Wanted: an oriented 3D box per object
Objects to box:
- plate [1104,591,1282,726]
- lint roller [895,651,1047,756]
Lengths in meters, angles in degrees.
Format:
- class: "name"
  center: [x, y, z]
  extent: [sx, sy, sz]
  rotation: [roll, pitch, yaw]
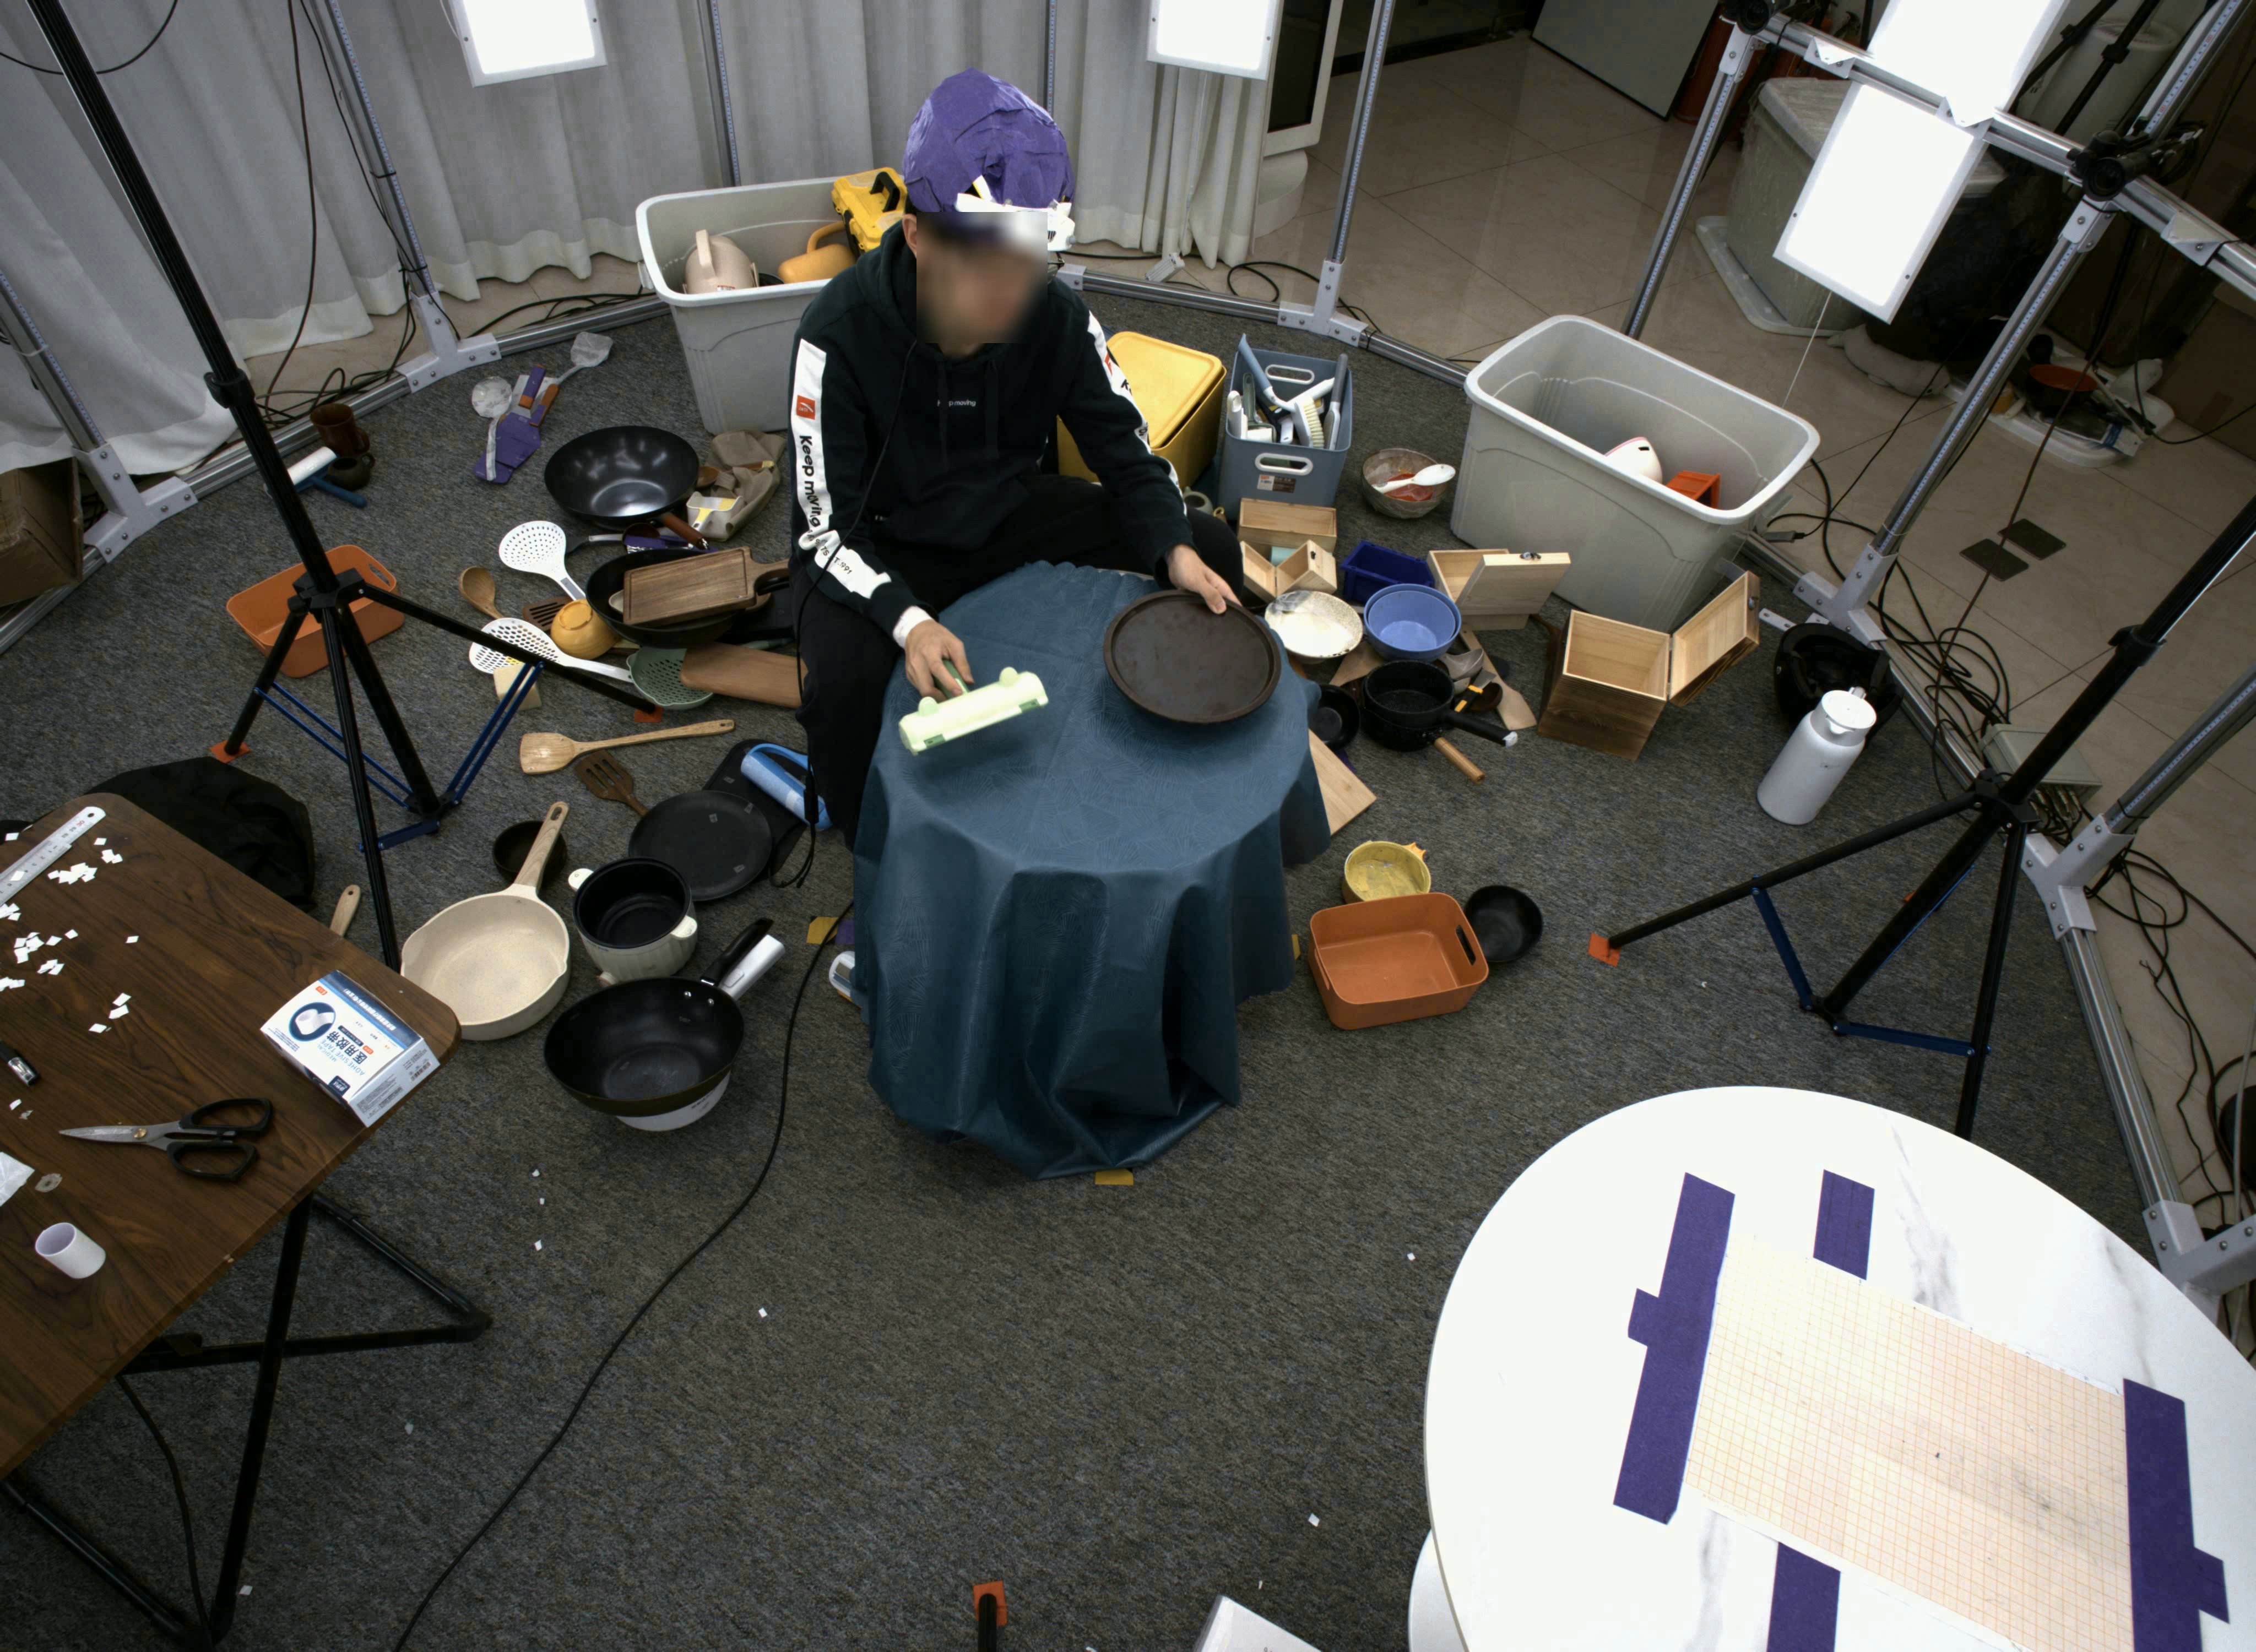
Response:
- class: "plate"
  center: [0.091, -0.238, 1.808]
  extent: [0.254, 0.028, 0.261]
  rotation: [3, 53, -4]
- class: "lint roller"
  center: [-0.232, -0.193, 1.714]
  extent: [0.199, 0.080, 0.187]
  rotation: [-23, 55, -16]
